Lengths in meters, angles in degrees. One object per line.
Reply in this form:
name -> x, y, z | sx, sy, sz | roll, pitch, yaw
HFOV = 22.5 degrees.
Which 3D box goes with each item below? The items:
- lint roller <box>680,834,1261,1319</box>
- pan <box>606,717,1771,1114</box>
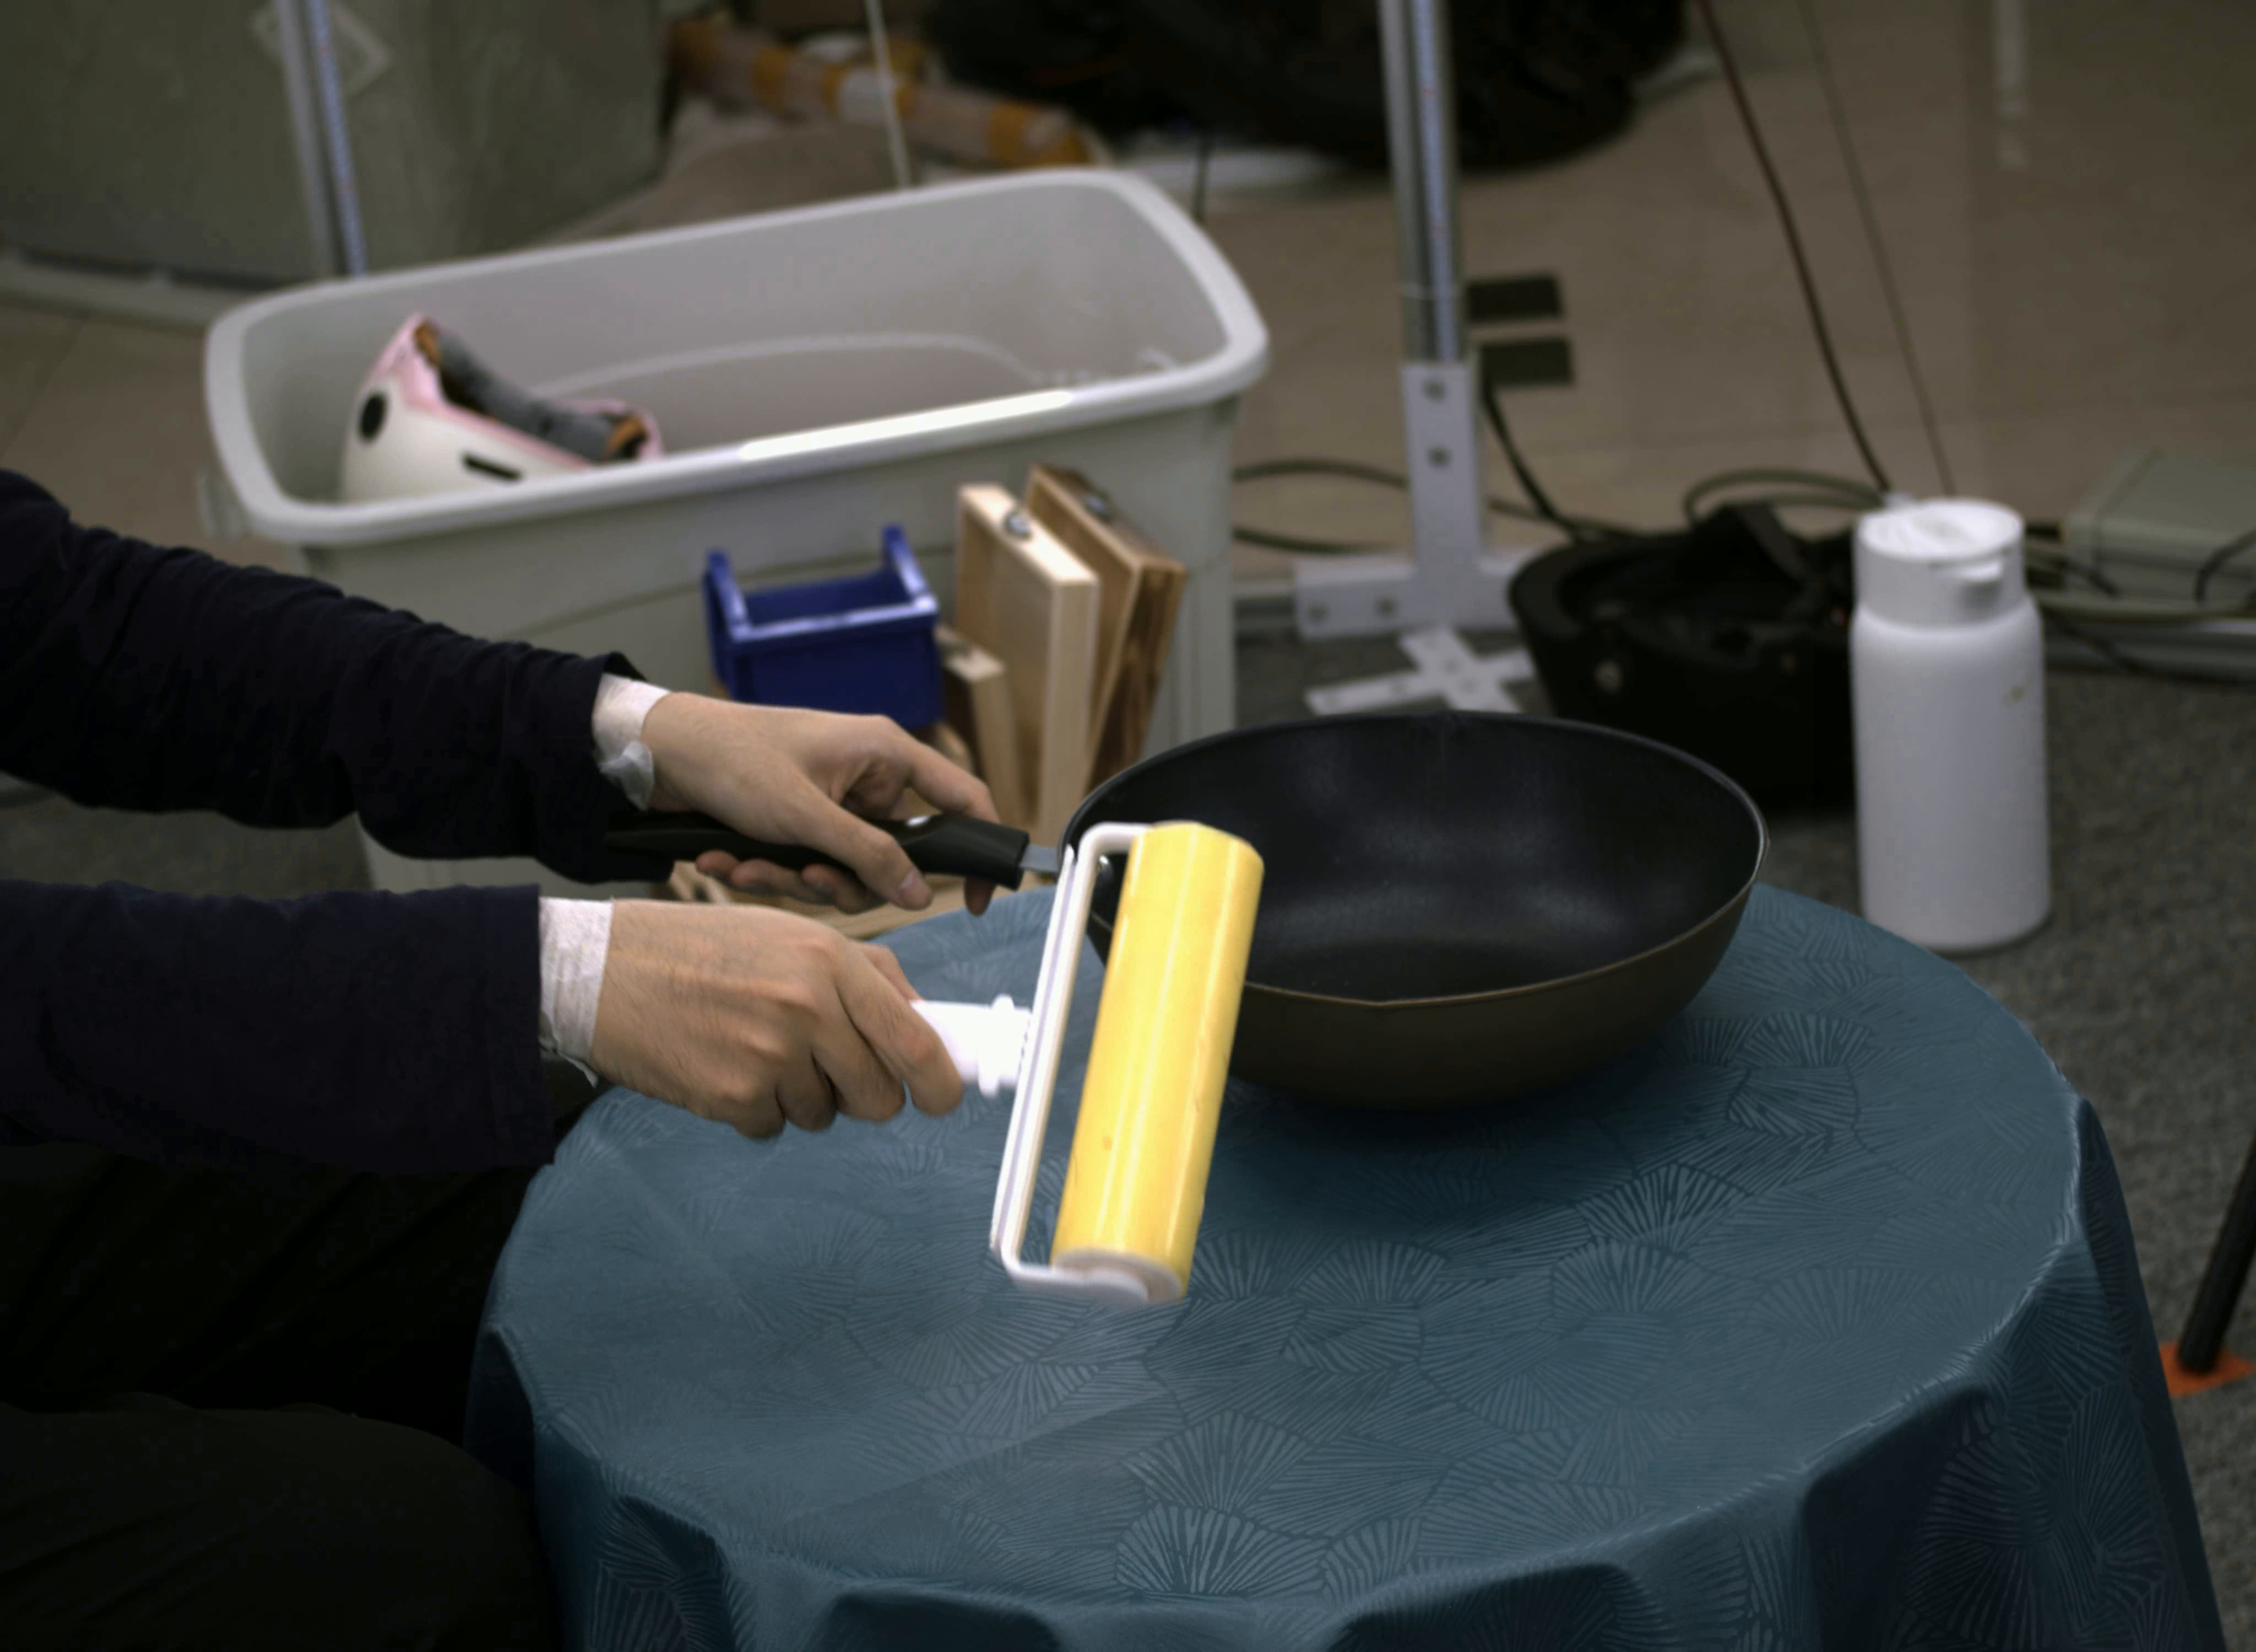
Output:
lint roller -> -0.060, 0.076, 1.934 | 0.191, 0.052, 0.172 | 7, 65, 4
pan -> 0.021, 0.041, 2.236 | 0.462, 0.088, 0.284 | 1, 23, 9
